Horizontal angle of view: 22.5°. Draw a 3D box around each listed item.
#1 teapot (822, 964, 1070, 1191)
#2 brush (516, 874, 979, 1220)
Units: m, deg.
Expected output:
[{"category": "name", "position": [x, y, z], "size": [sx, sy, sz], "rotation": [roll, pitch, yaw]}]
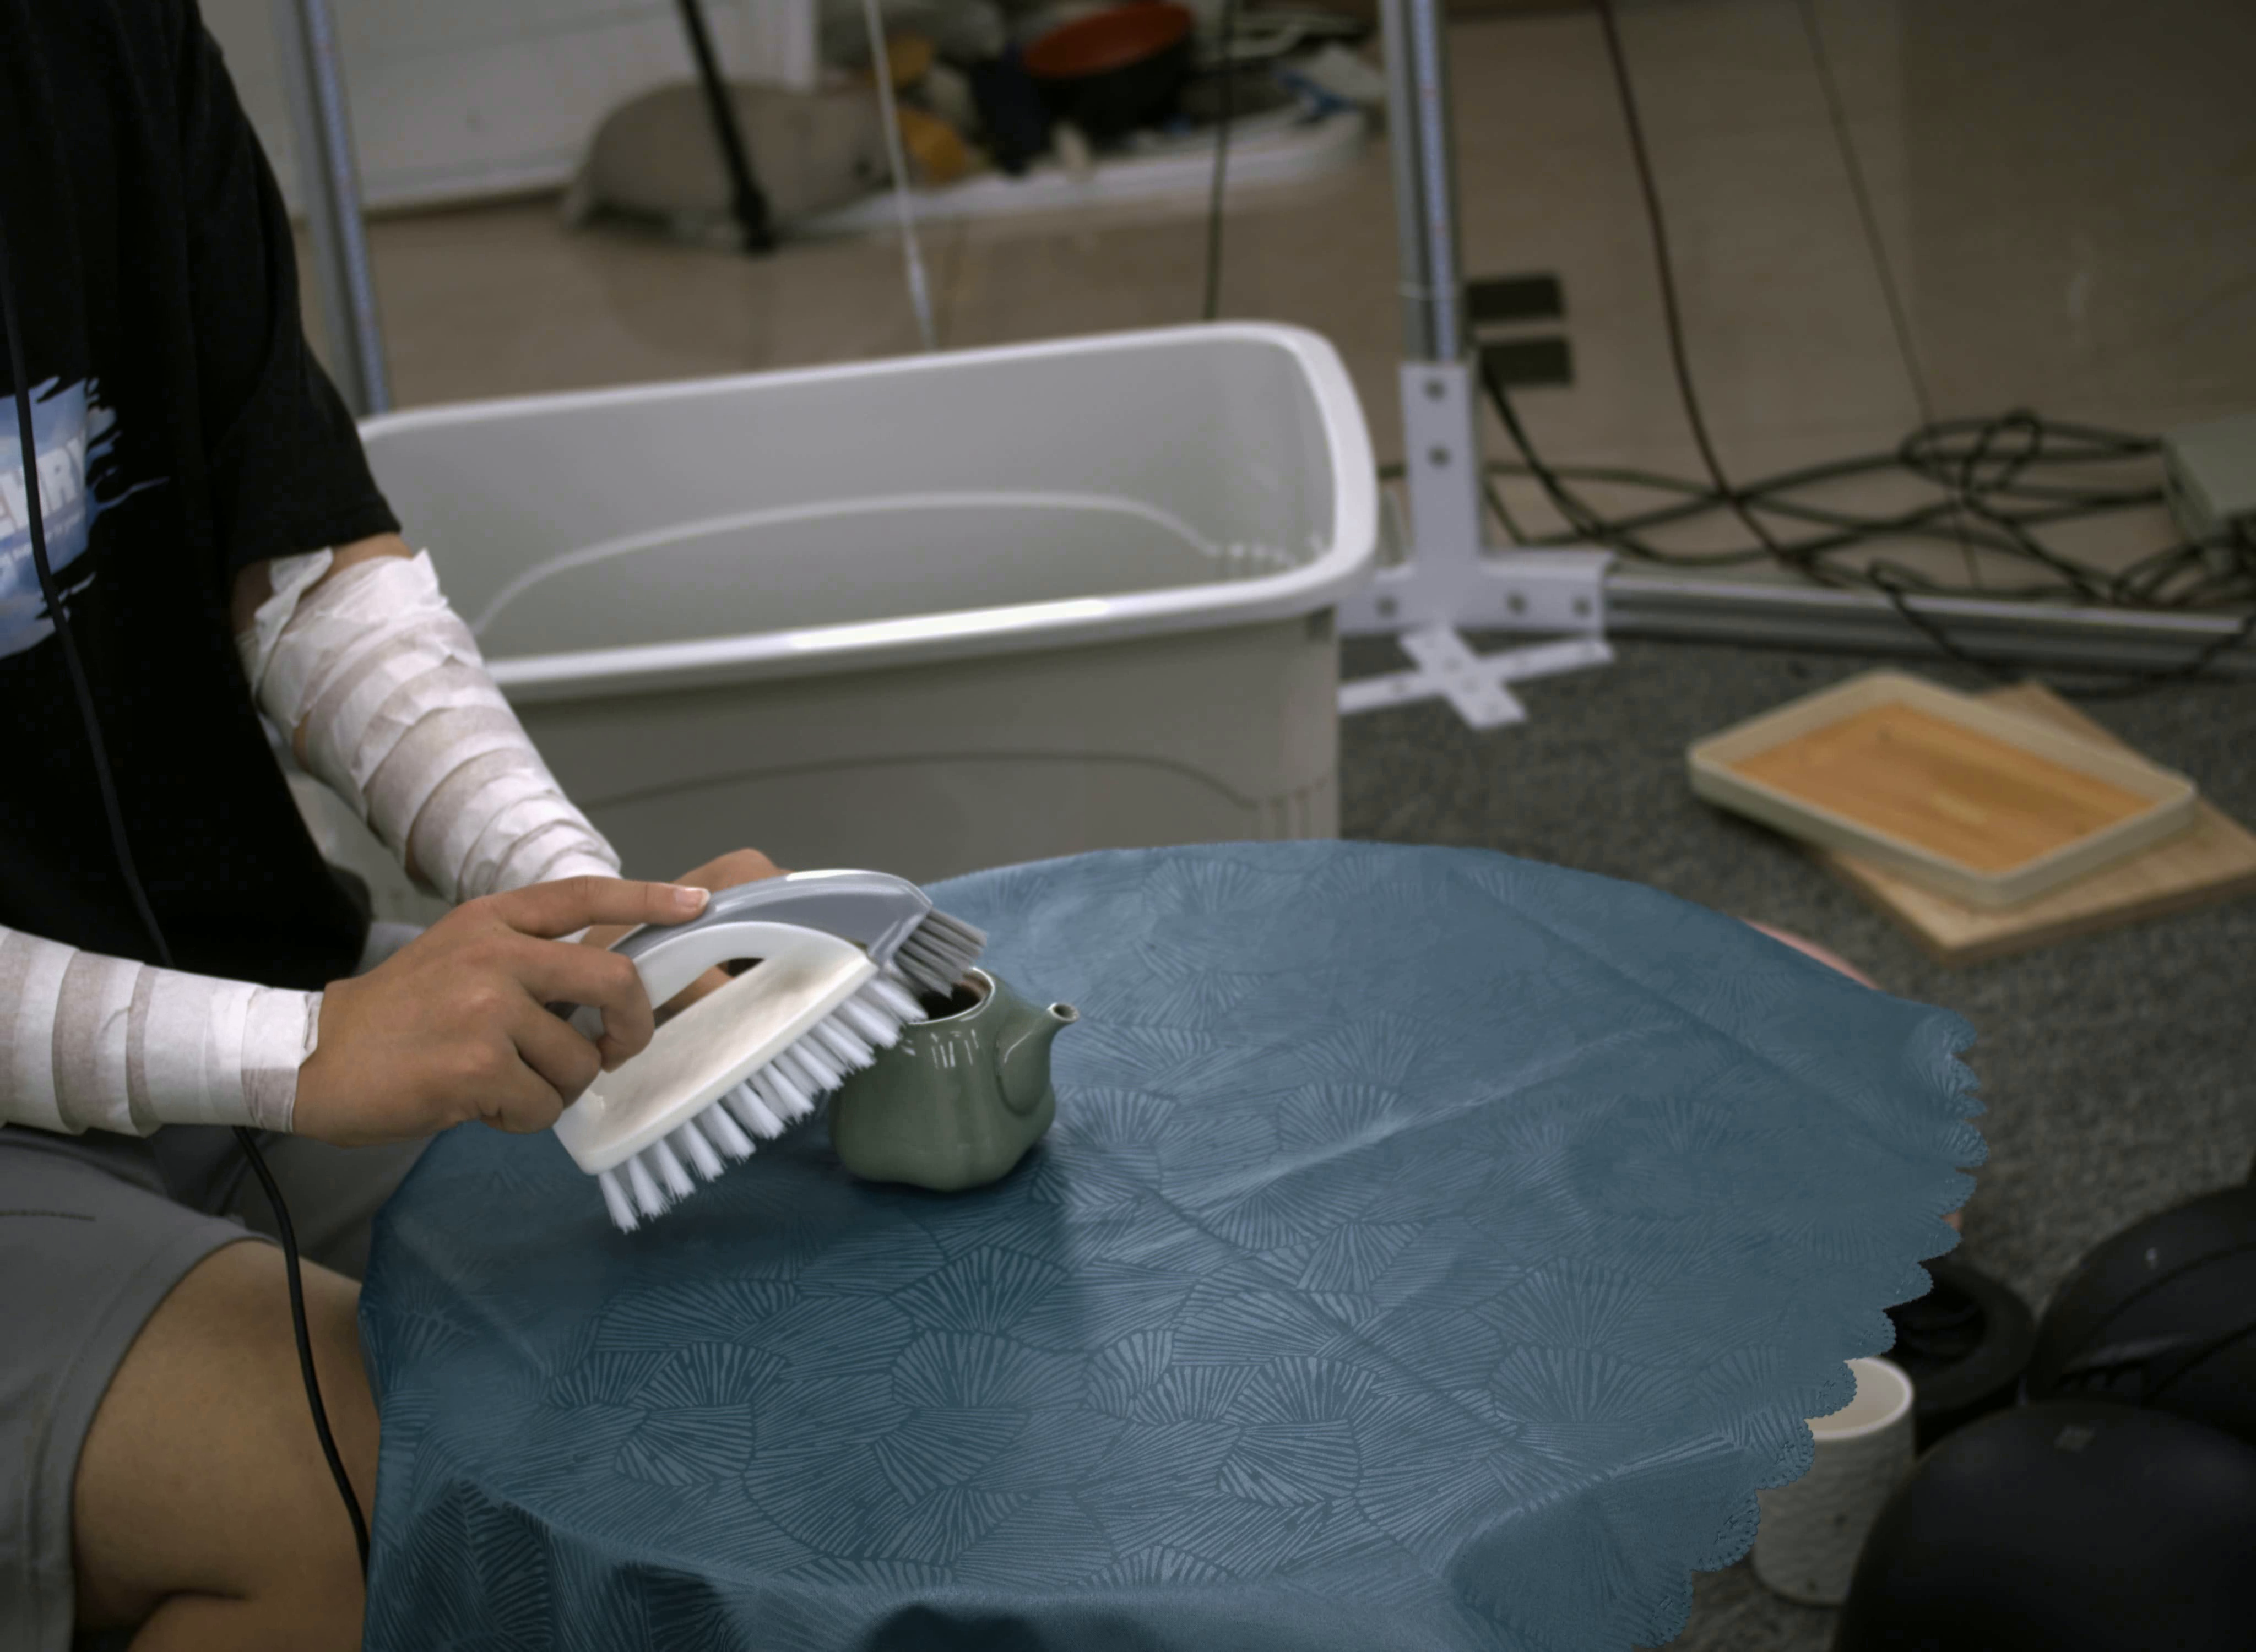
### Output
[{"category": "teapot", "position": [-0.076, 0.094, 2.177], "size": [0.132, 0.076, 0.079], "rotation": [7, 26, 30]}, {"category": "brush", "position": [-0.149, 0.064, 2.120], "size": [0.176, 0.095, 0.060], "rotation": [-31, 33, 8]}]
